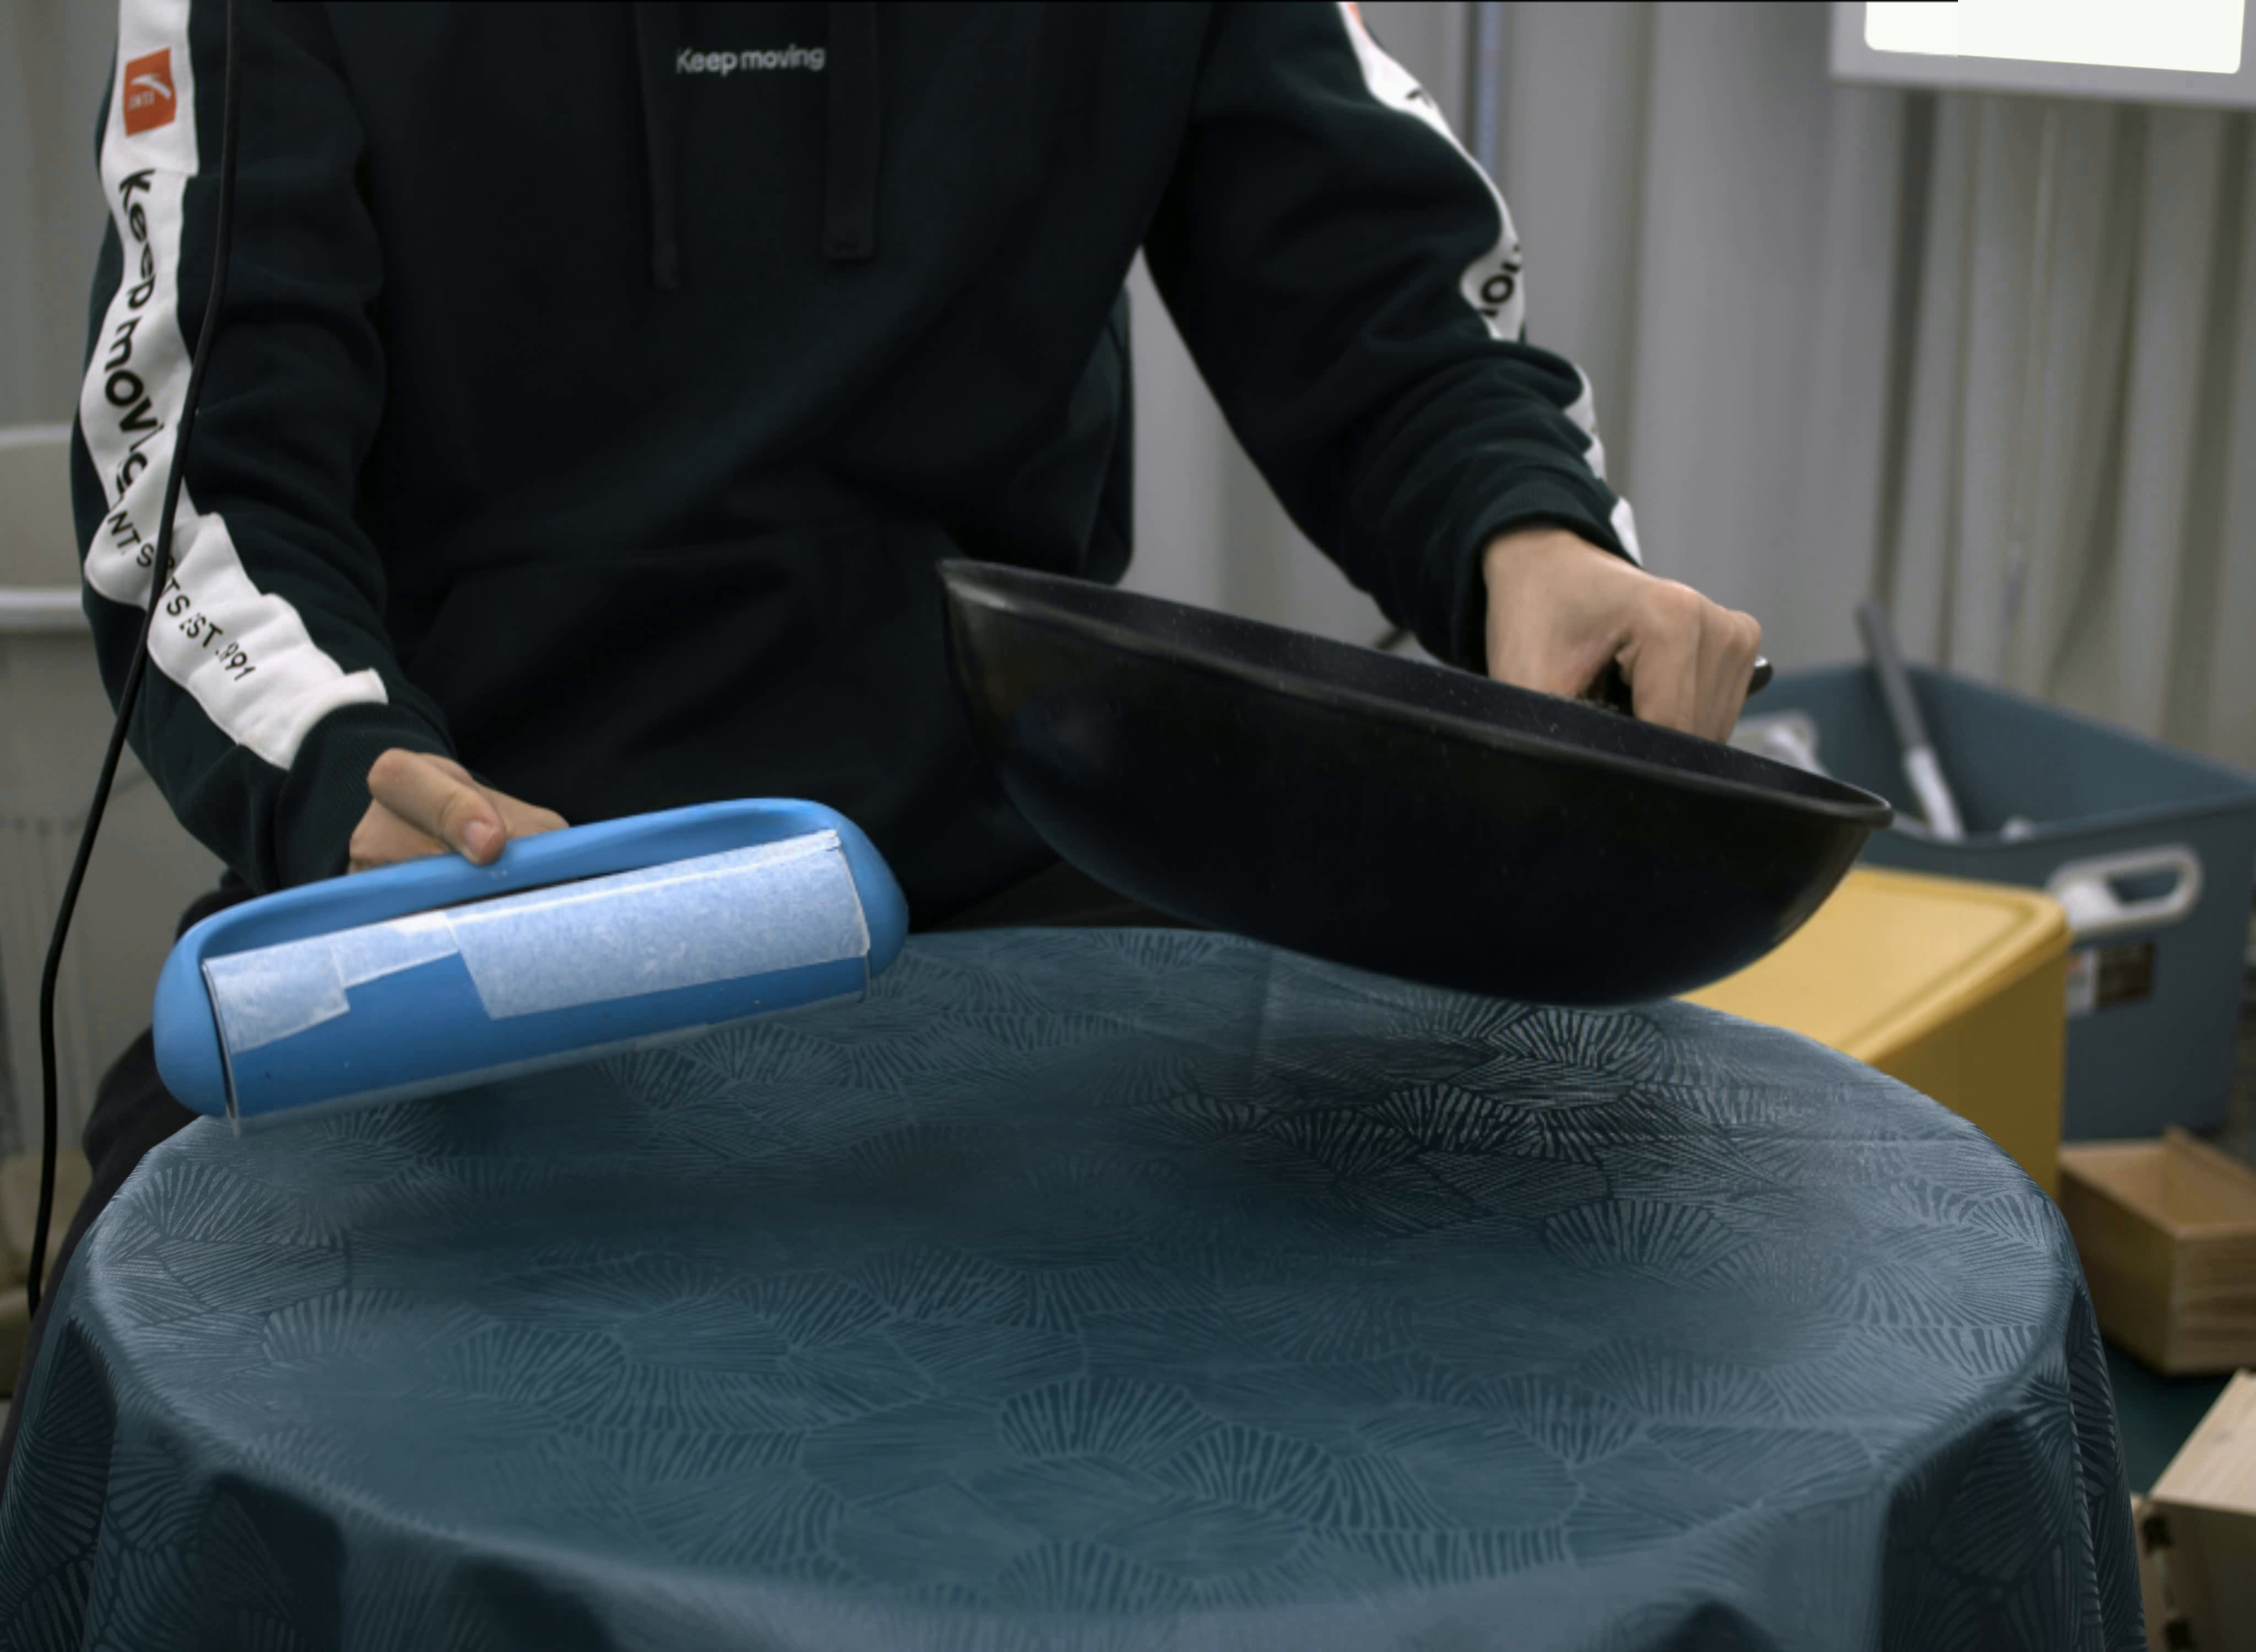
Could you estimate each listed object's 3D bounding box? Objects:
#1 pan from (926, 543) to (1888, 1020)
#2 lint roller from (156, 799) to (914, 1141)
[{"bbox_3d":[0.112,-0.013,1.707,0.307,0.112,0.480,18,5,22],"label":"pan"},{"bbox_3d":[-0.193,0.037,1.614,0.229,0.068,0.178,-14,12,-17],"label":"lint roller"}]
